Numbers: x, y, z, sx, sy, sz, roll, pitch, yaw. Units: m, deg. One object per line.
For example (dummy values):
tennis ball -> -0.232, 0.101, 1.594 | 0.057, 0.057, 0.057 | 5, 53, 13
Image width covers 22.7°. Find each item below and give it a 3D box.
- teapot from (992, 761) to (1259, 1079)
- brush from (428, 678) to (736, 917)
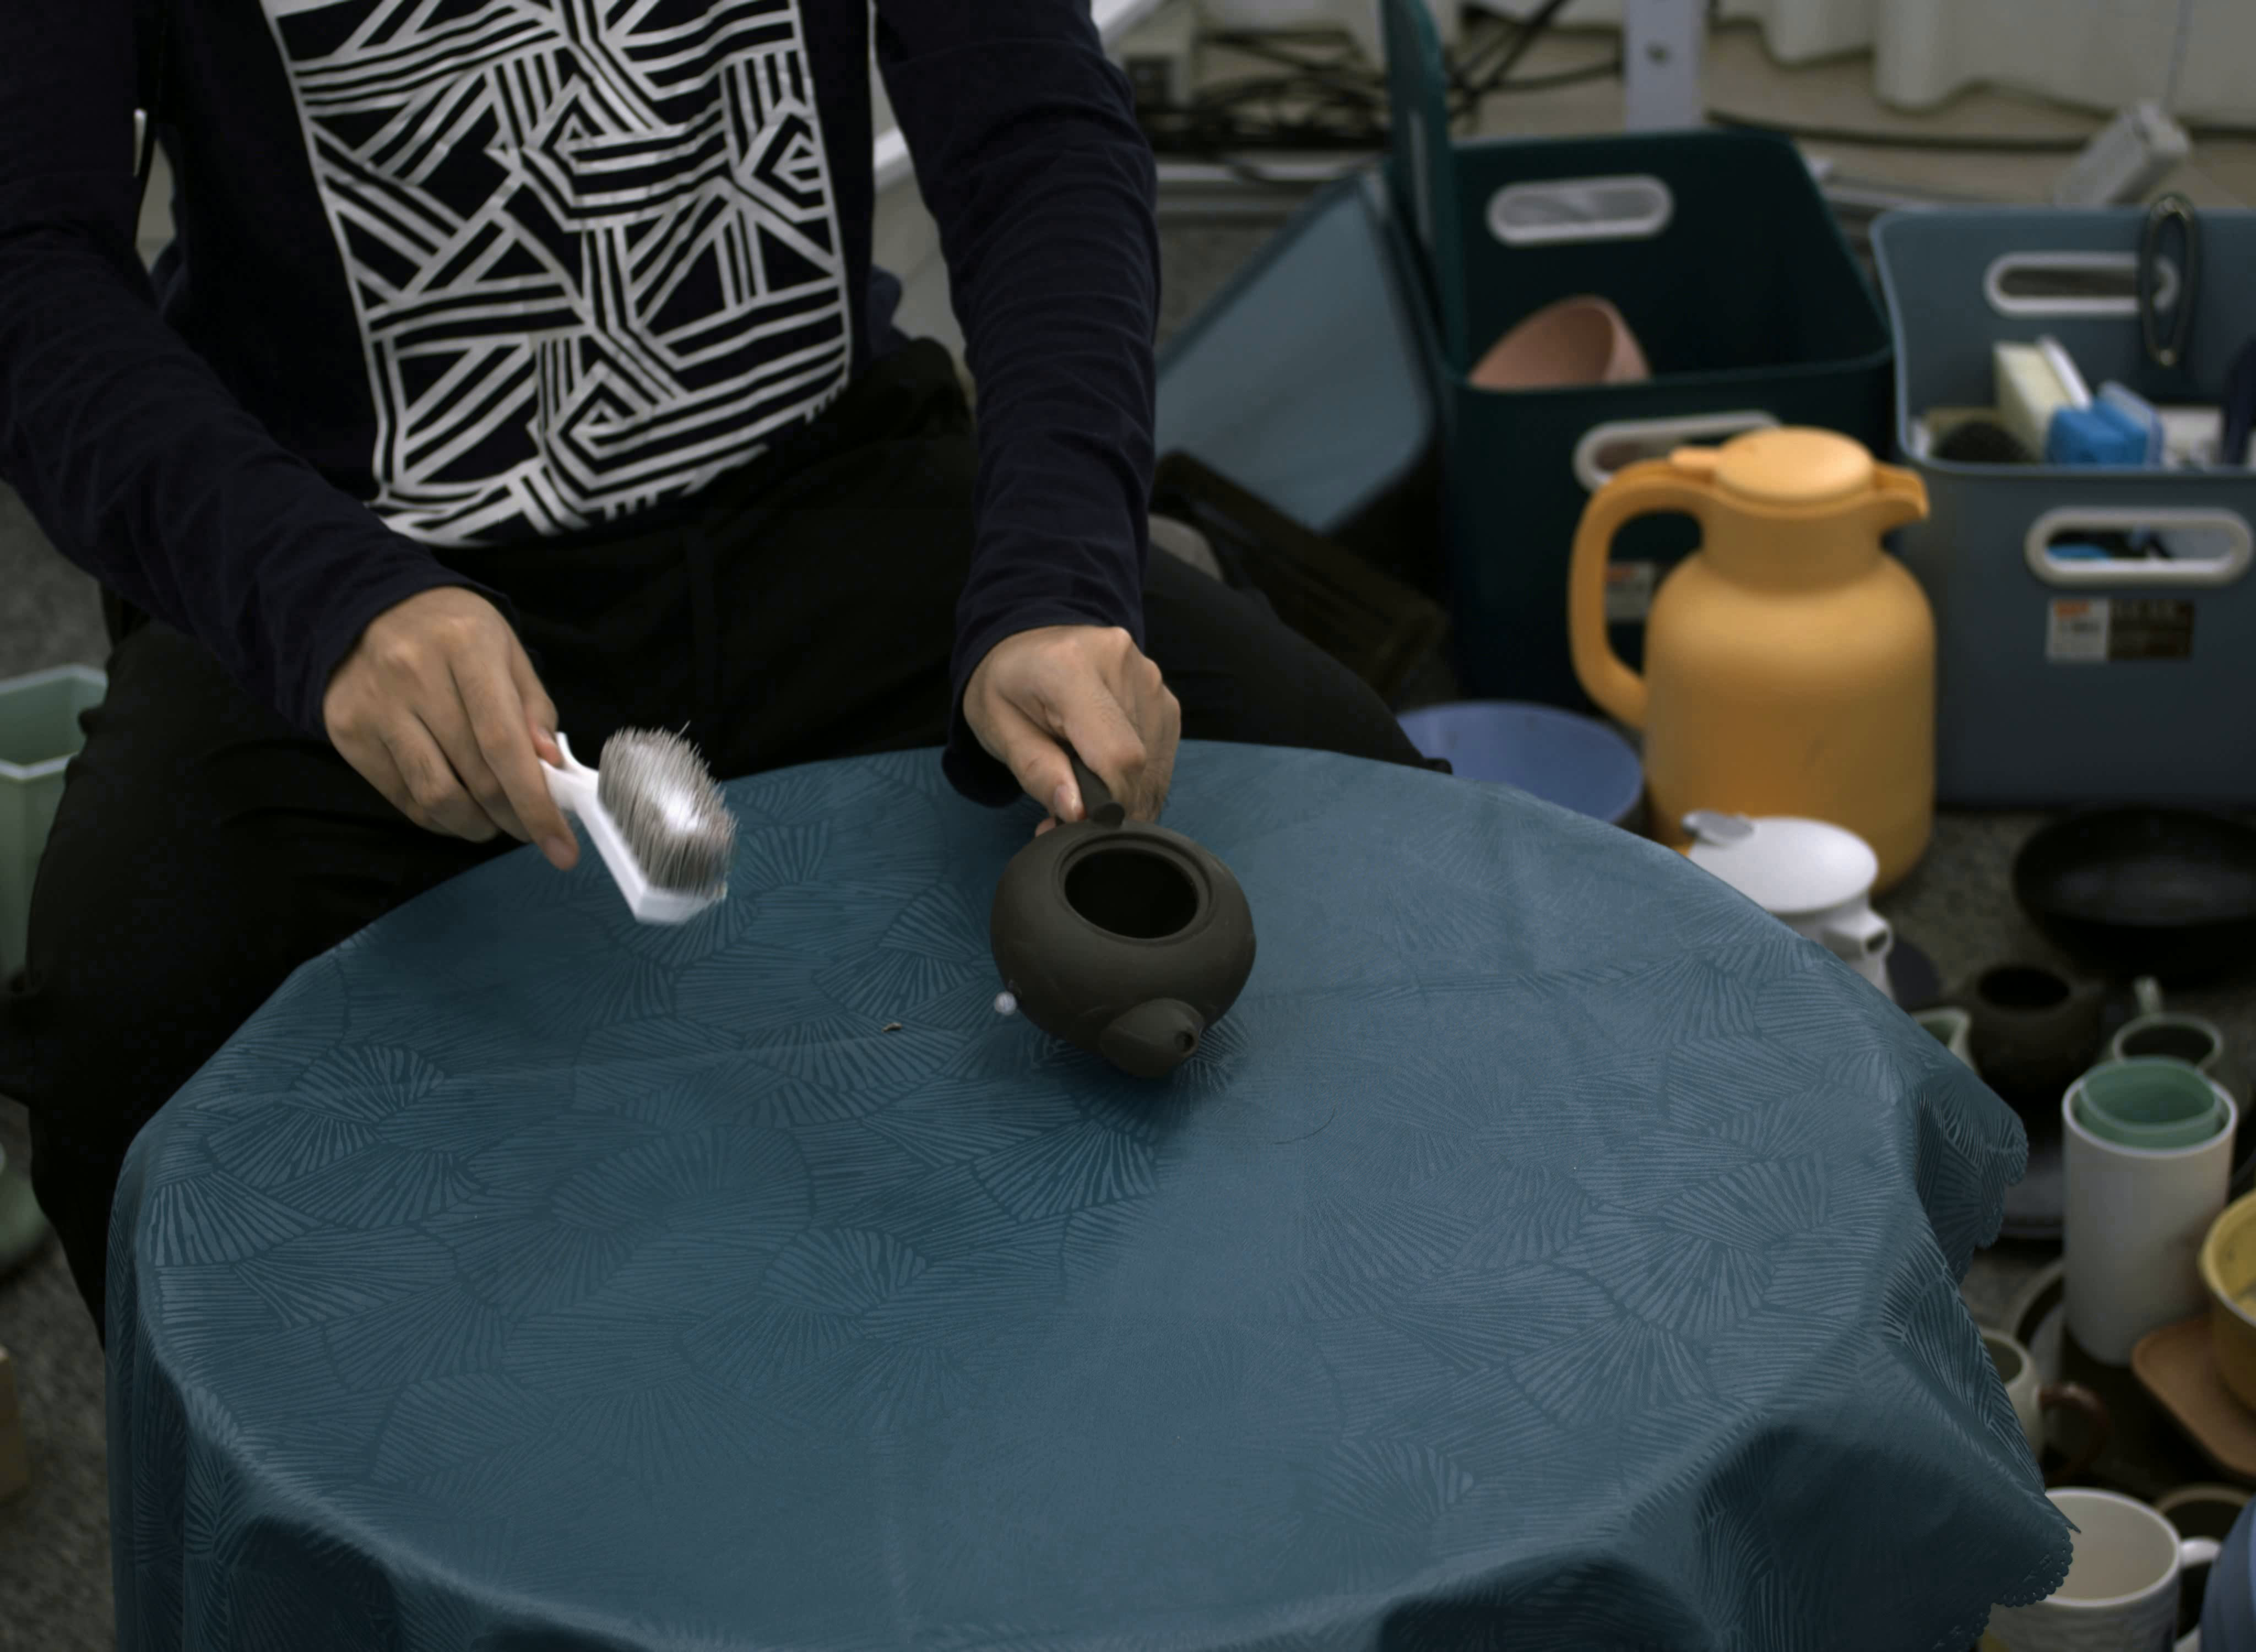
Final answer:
teapot -> -0.002, 0.038, 1.941 | 0.092, 0.063, 0.157 | -1, 42, -17
brush -> -0.193, -0.029, 1.948 | 0.034, 0.050, 0.244 | -3, 20, -26
